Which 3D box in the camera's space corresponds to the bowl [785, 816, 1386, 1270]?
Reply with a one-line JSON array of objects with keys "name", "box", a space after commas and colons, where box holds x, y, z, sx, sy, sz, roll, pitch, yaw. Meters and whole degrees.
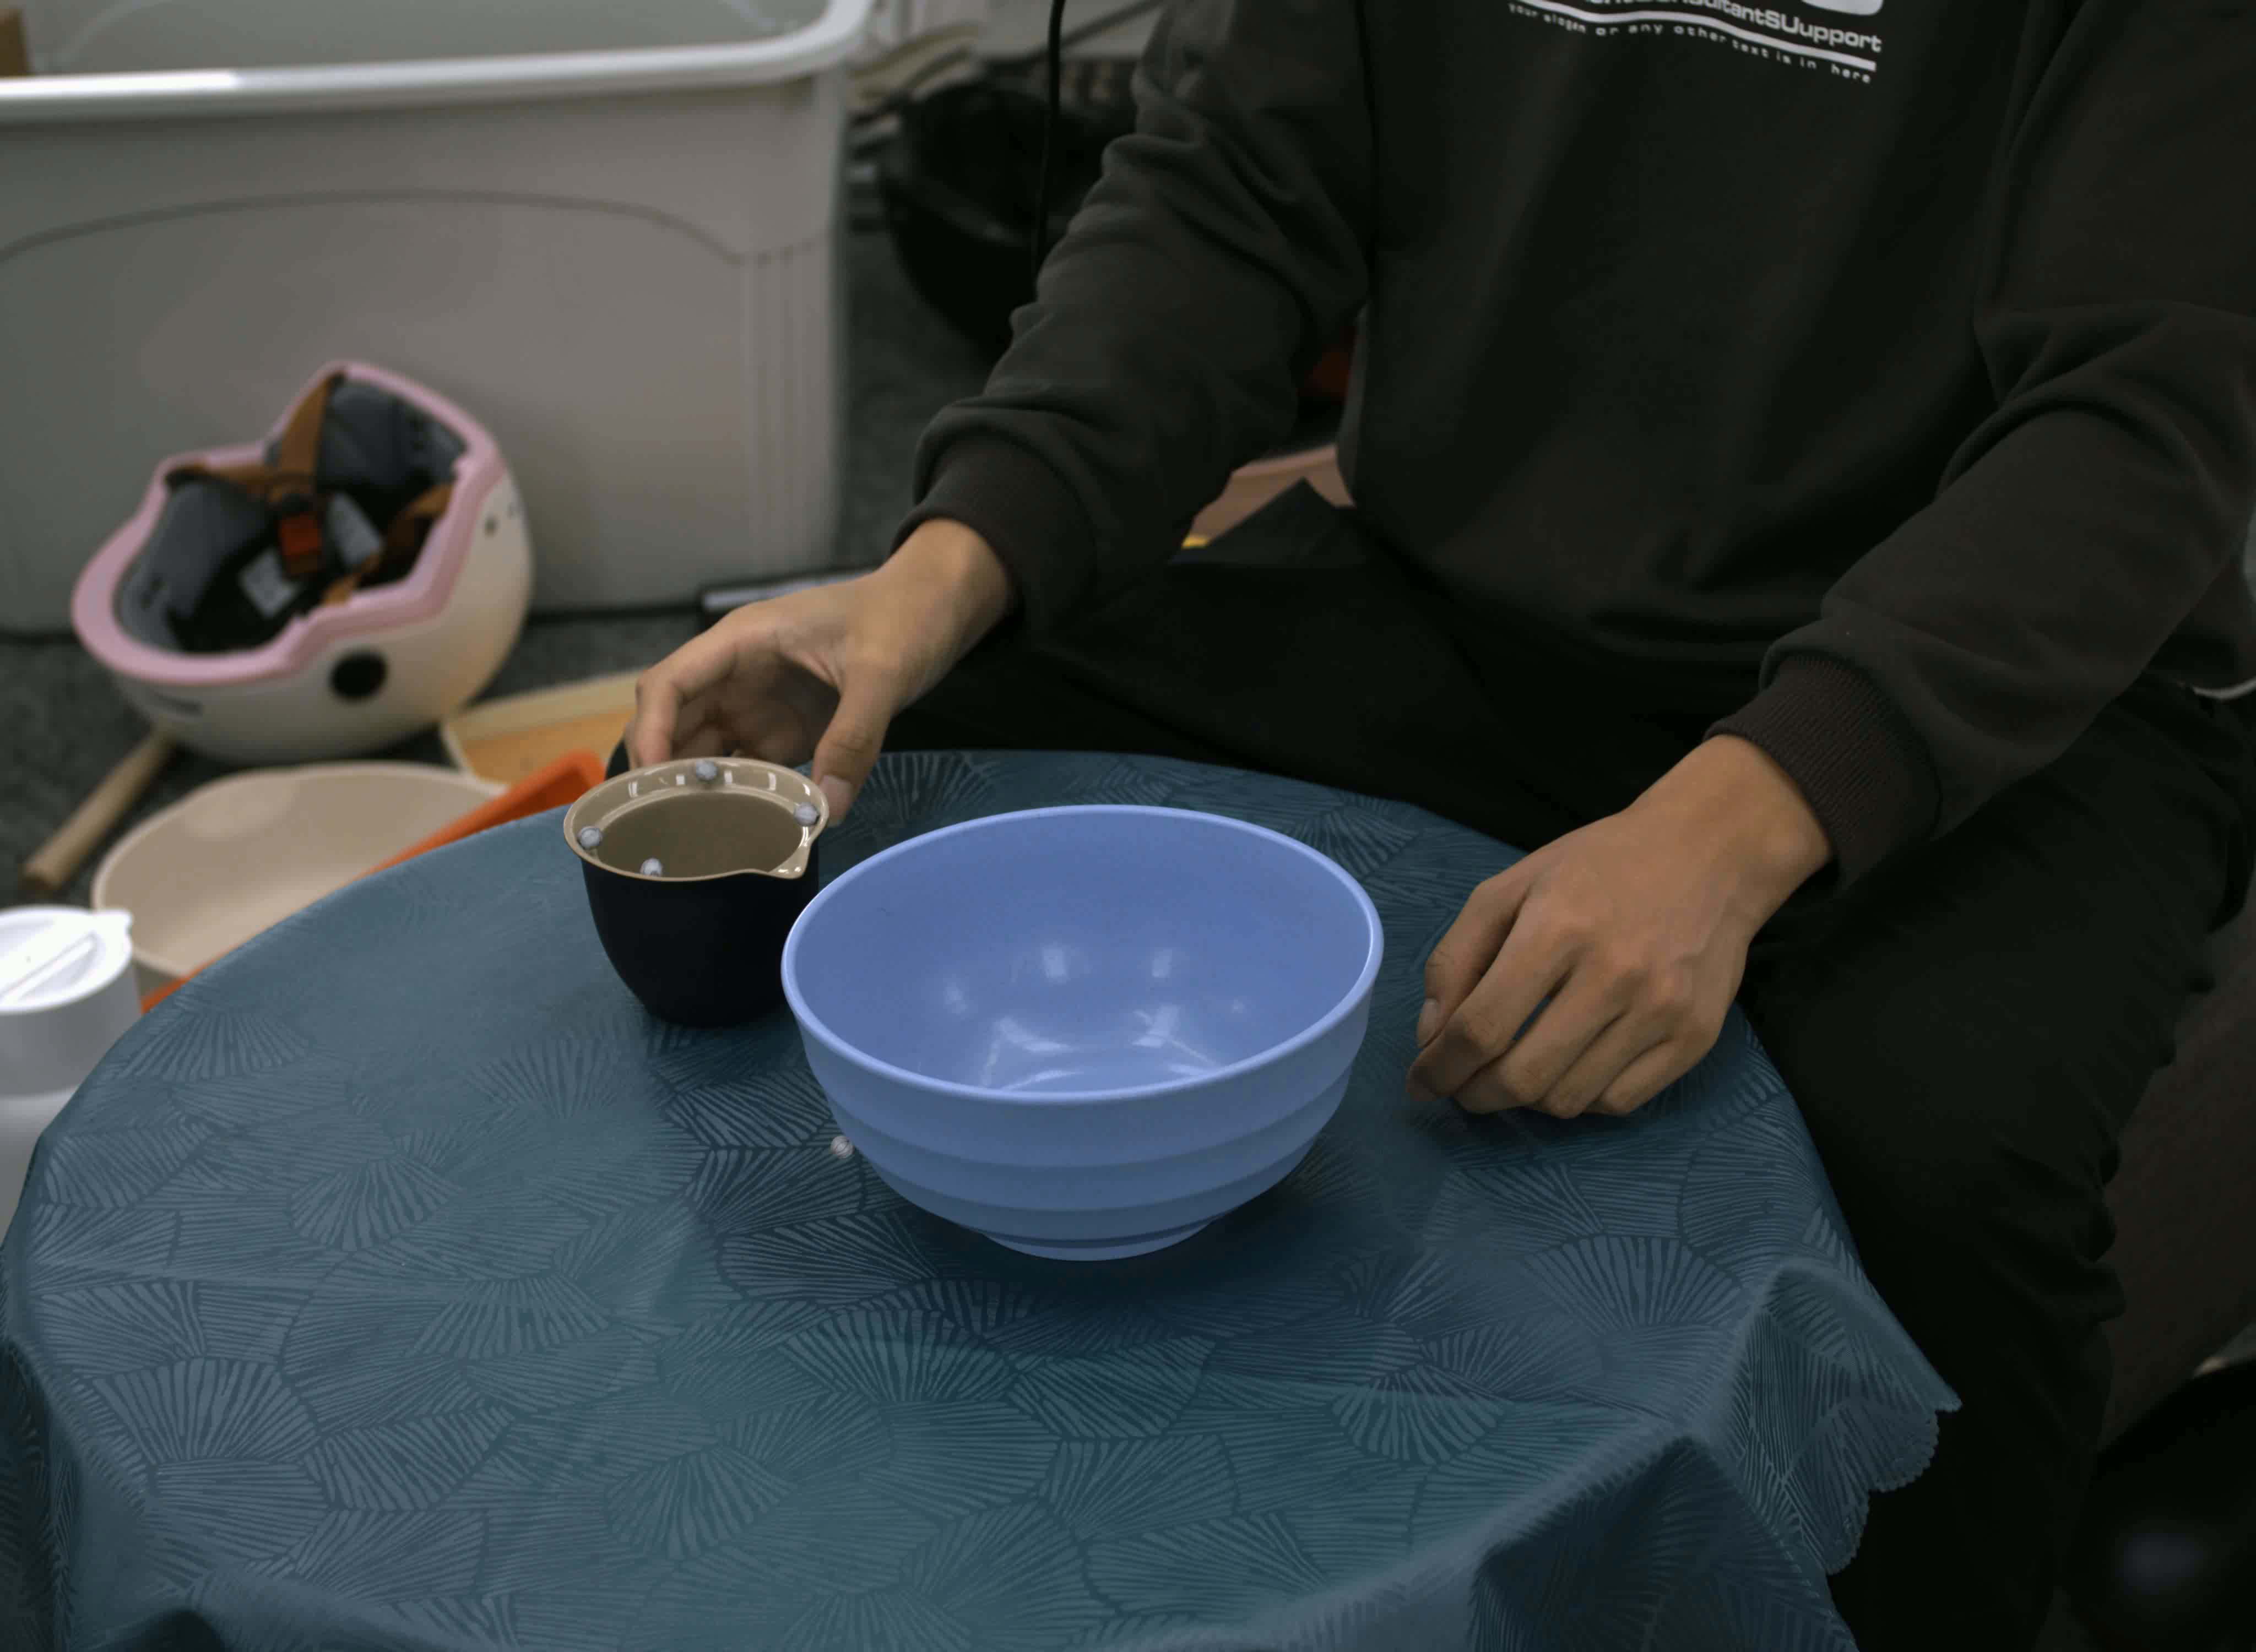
[{"name": "bowl", "box": [-0.014, 0.082, 1.849, 0.195, 0.094, 0.199, 0, 26, 0]}]

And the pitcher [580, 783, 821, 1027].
[{"name": "pitcher", "box": [-0.145, 0.030, 1.976, 0.084, 0.070, 0.096, -24, 33, -38]}]
